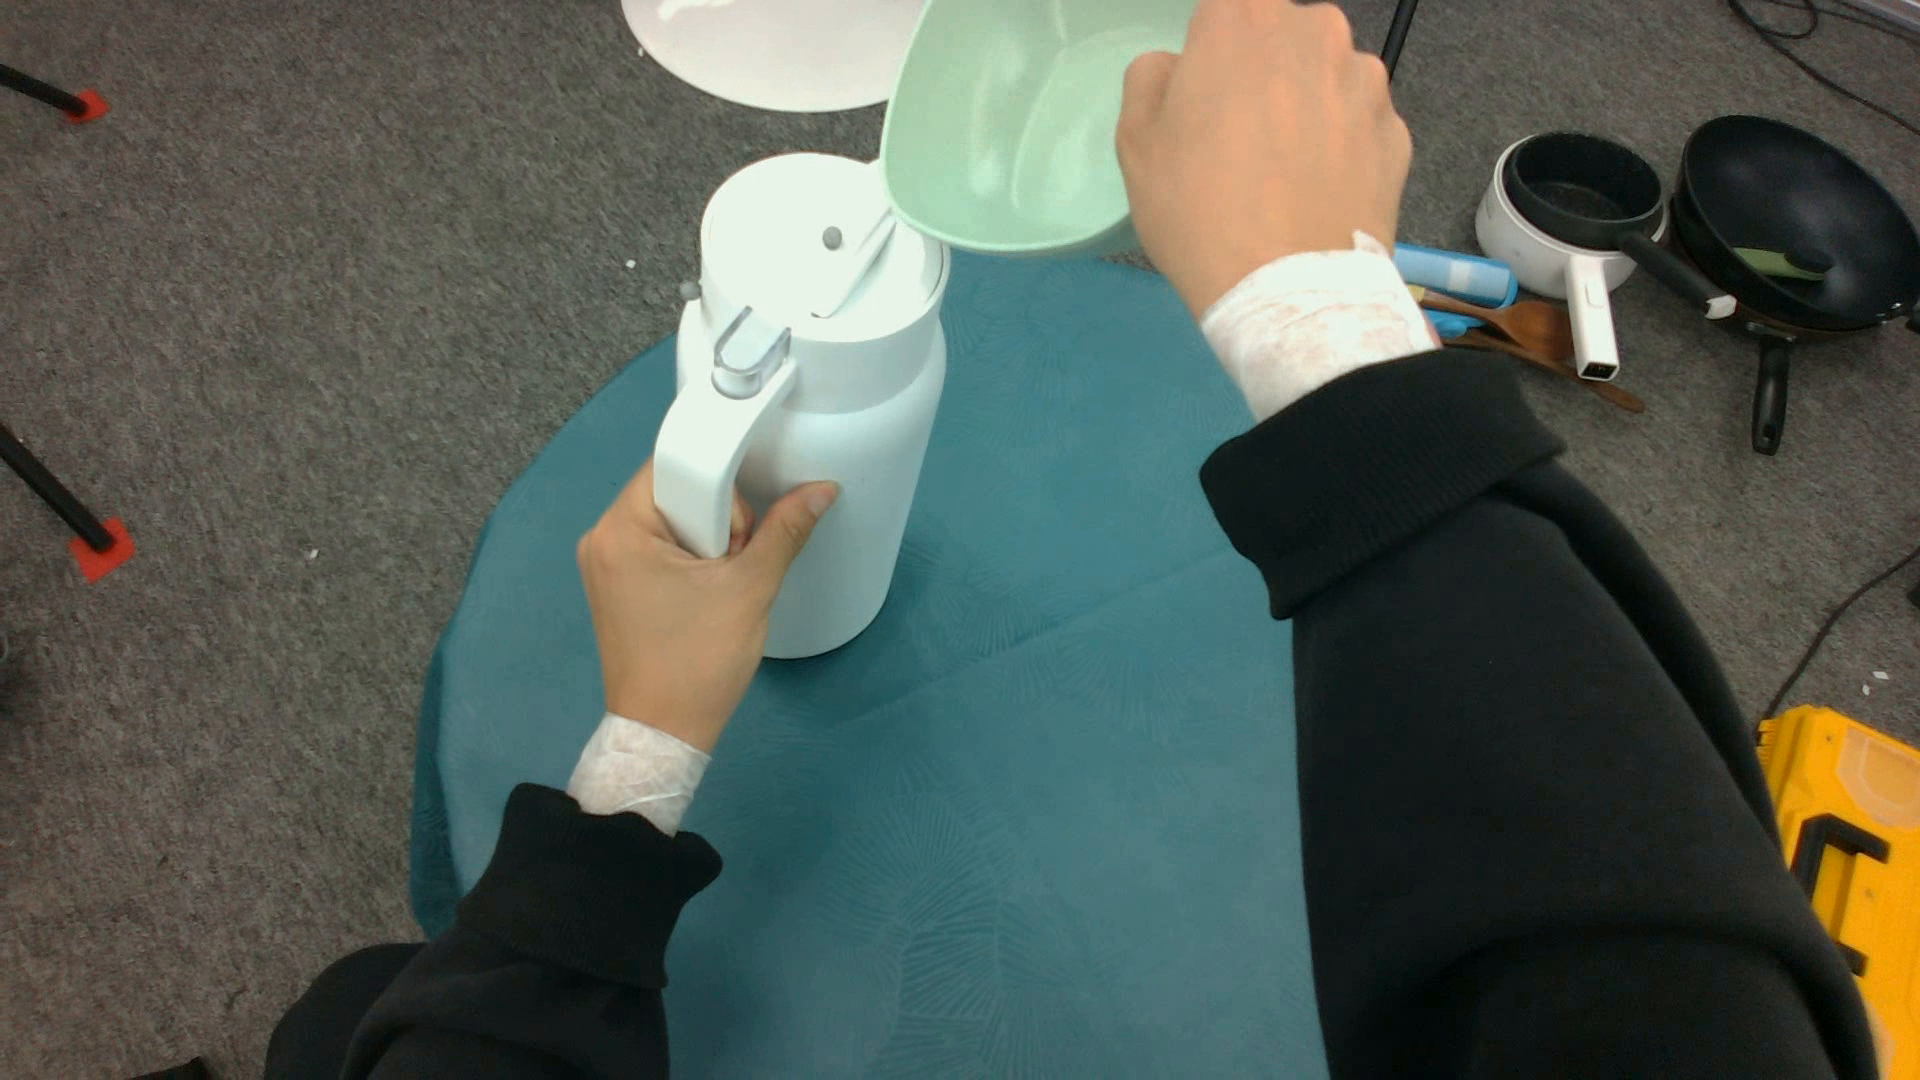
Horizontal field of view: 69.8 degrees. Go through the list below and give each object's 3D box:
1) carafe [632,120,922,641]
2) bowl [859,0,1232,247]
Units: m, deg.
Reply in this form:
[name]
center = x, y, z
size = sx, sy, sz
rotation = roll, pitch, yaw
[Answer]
[carafe]
center = -0.093, -0.047, 0.643
size = 0.124, 0.267, 0.173
rotation = 27, 58, 2
[bowl]
center = 0.039, -0.166, 0.520
size = 0.151, 0.058, 0.152
rotation = -9, 69, 25
